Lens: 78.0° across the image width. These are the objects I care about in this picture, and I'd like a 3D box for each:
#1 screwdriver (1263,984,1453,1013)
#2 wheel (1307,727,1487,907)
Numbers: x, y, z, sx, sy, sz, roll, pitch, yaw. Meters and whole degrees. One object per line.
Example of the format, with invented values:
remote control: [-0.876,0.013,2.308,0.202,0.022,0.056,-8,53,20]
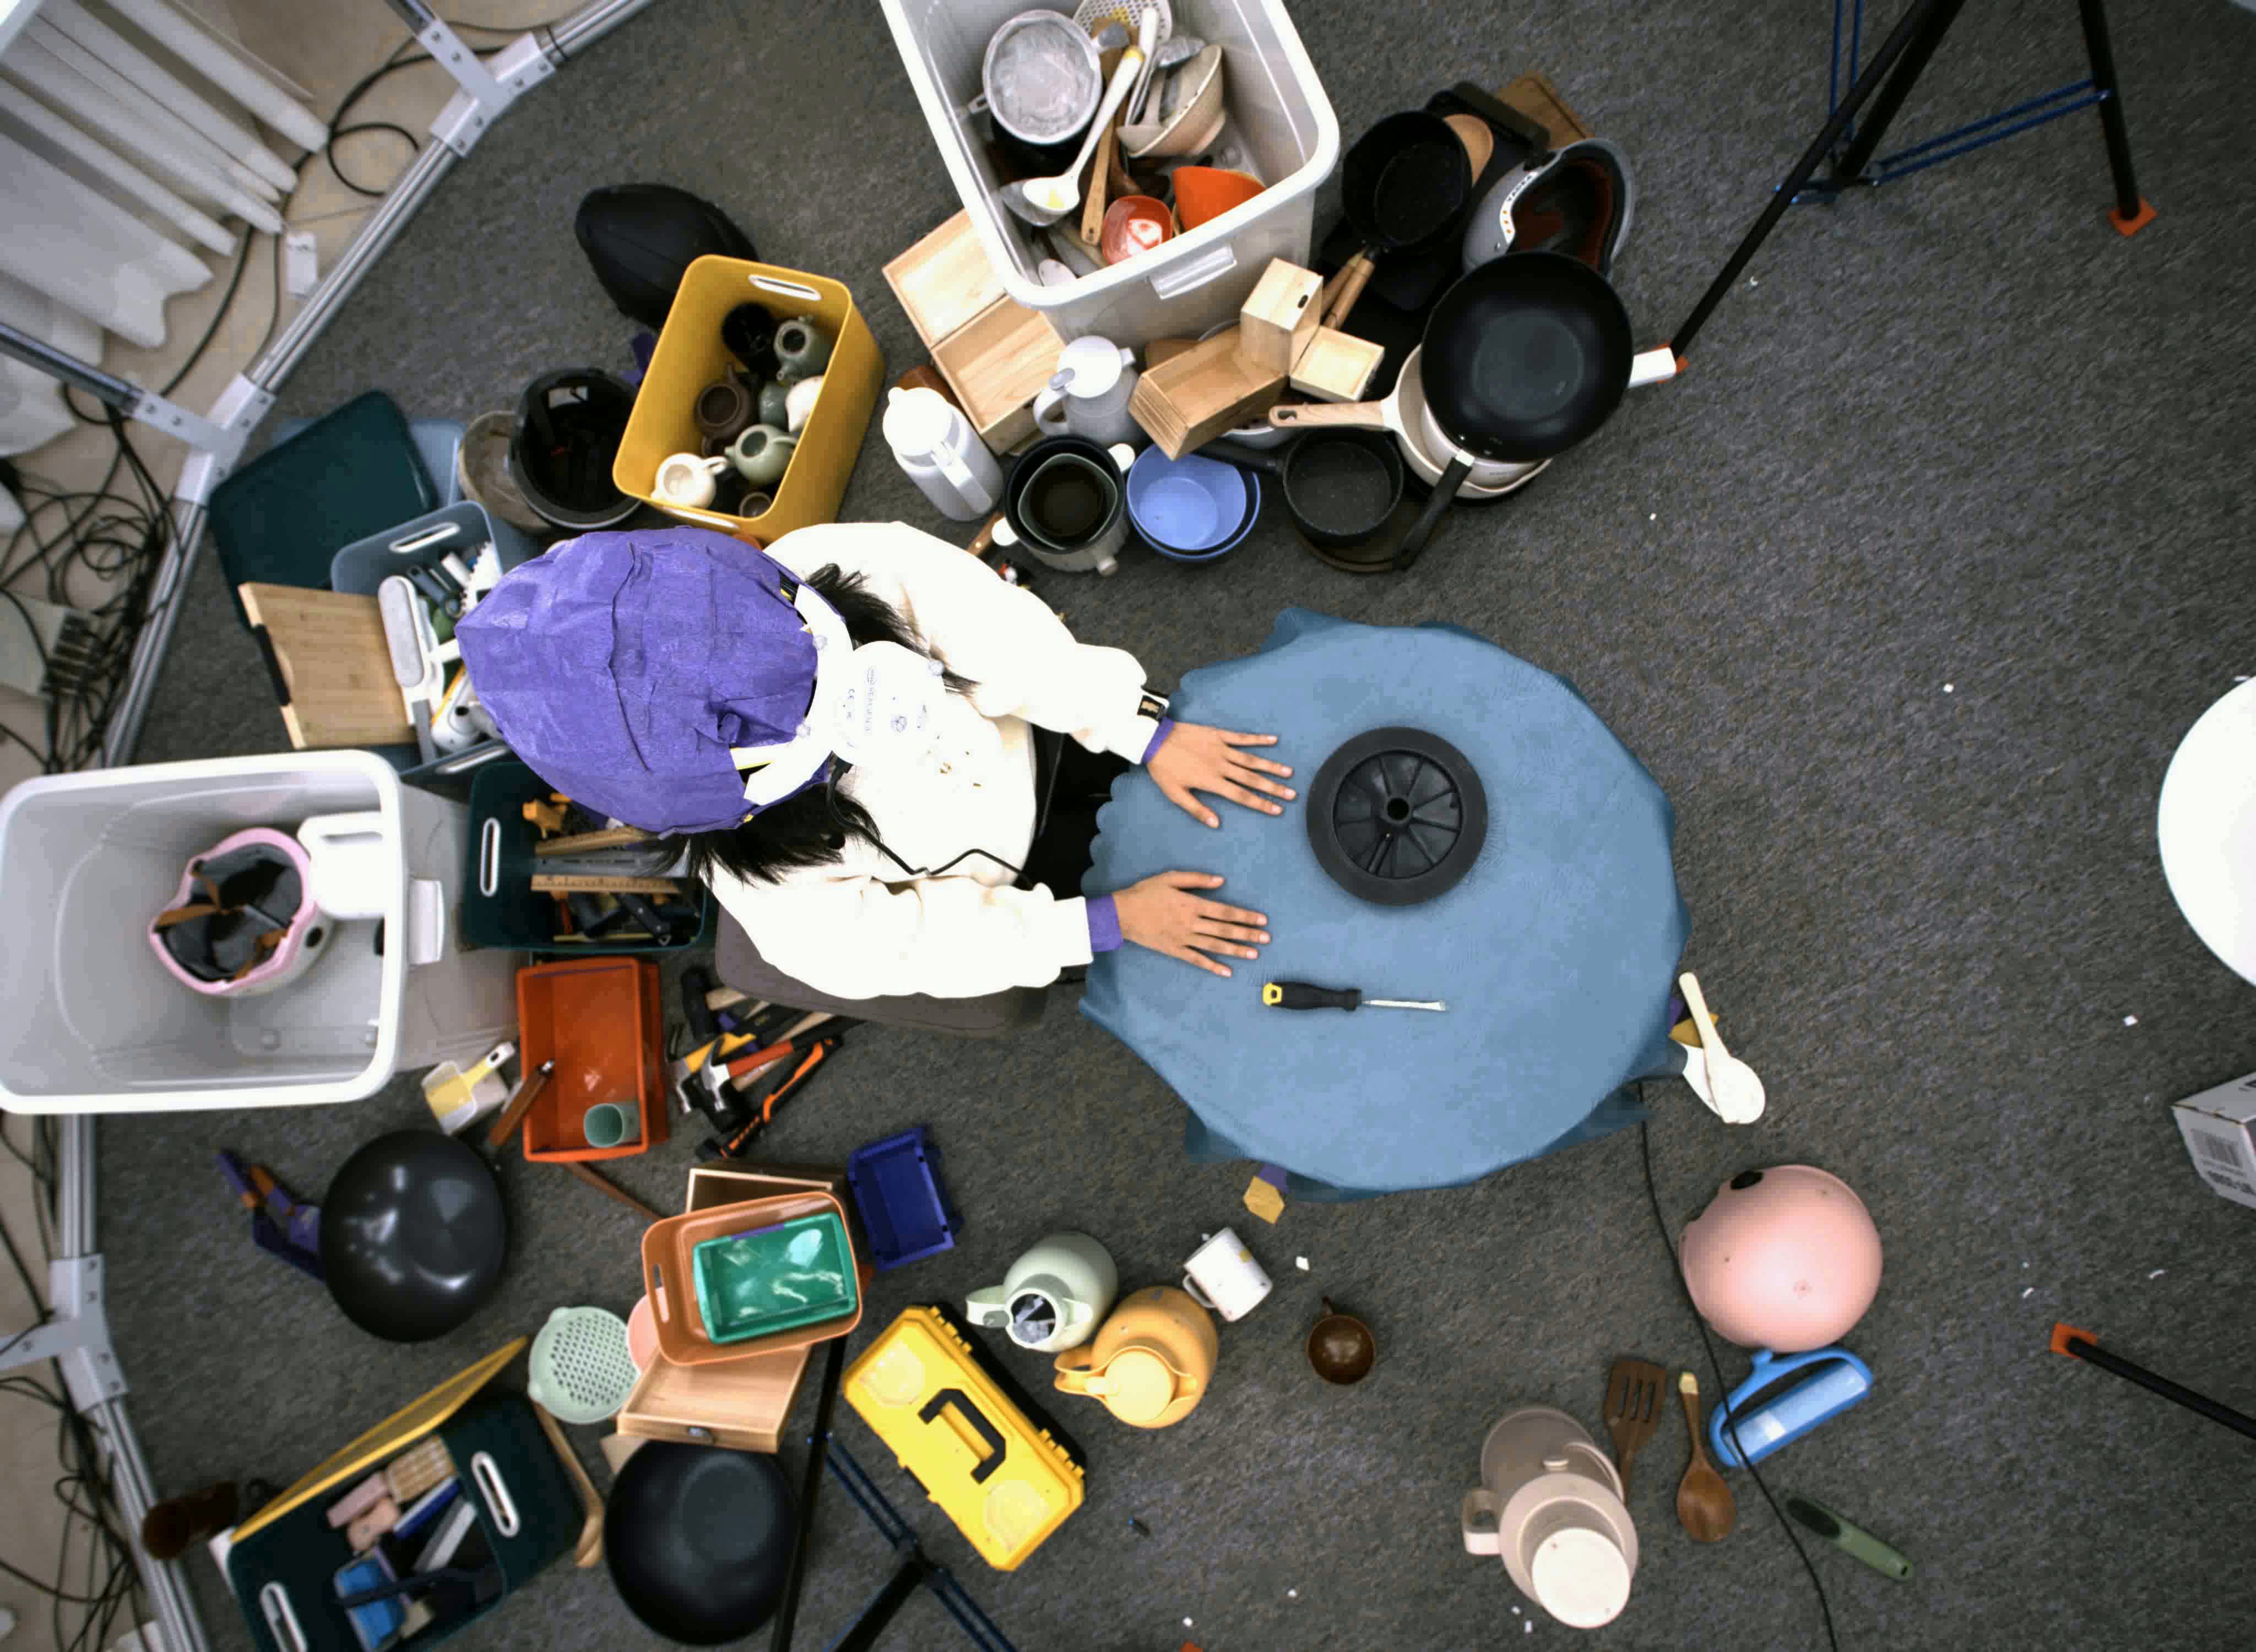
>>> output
screwdriver: [0.240,0.186,1.447,0.198,0.031,0.031,5,86,8]
wheel: [0.278,-0.012,1.426,0.188,0.079,0.189,1,90,10]
